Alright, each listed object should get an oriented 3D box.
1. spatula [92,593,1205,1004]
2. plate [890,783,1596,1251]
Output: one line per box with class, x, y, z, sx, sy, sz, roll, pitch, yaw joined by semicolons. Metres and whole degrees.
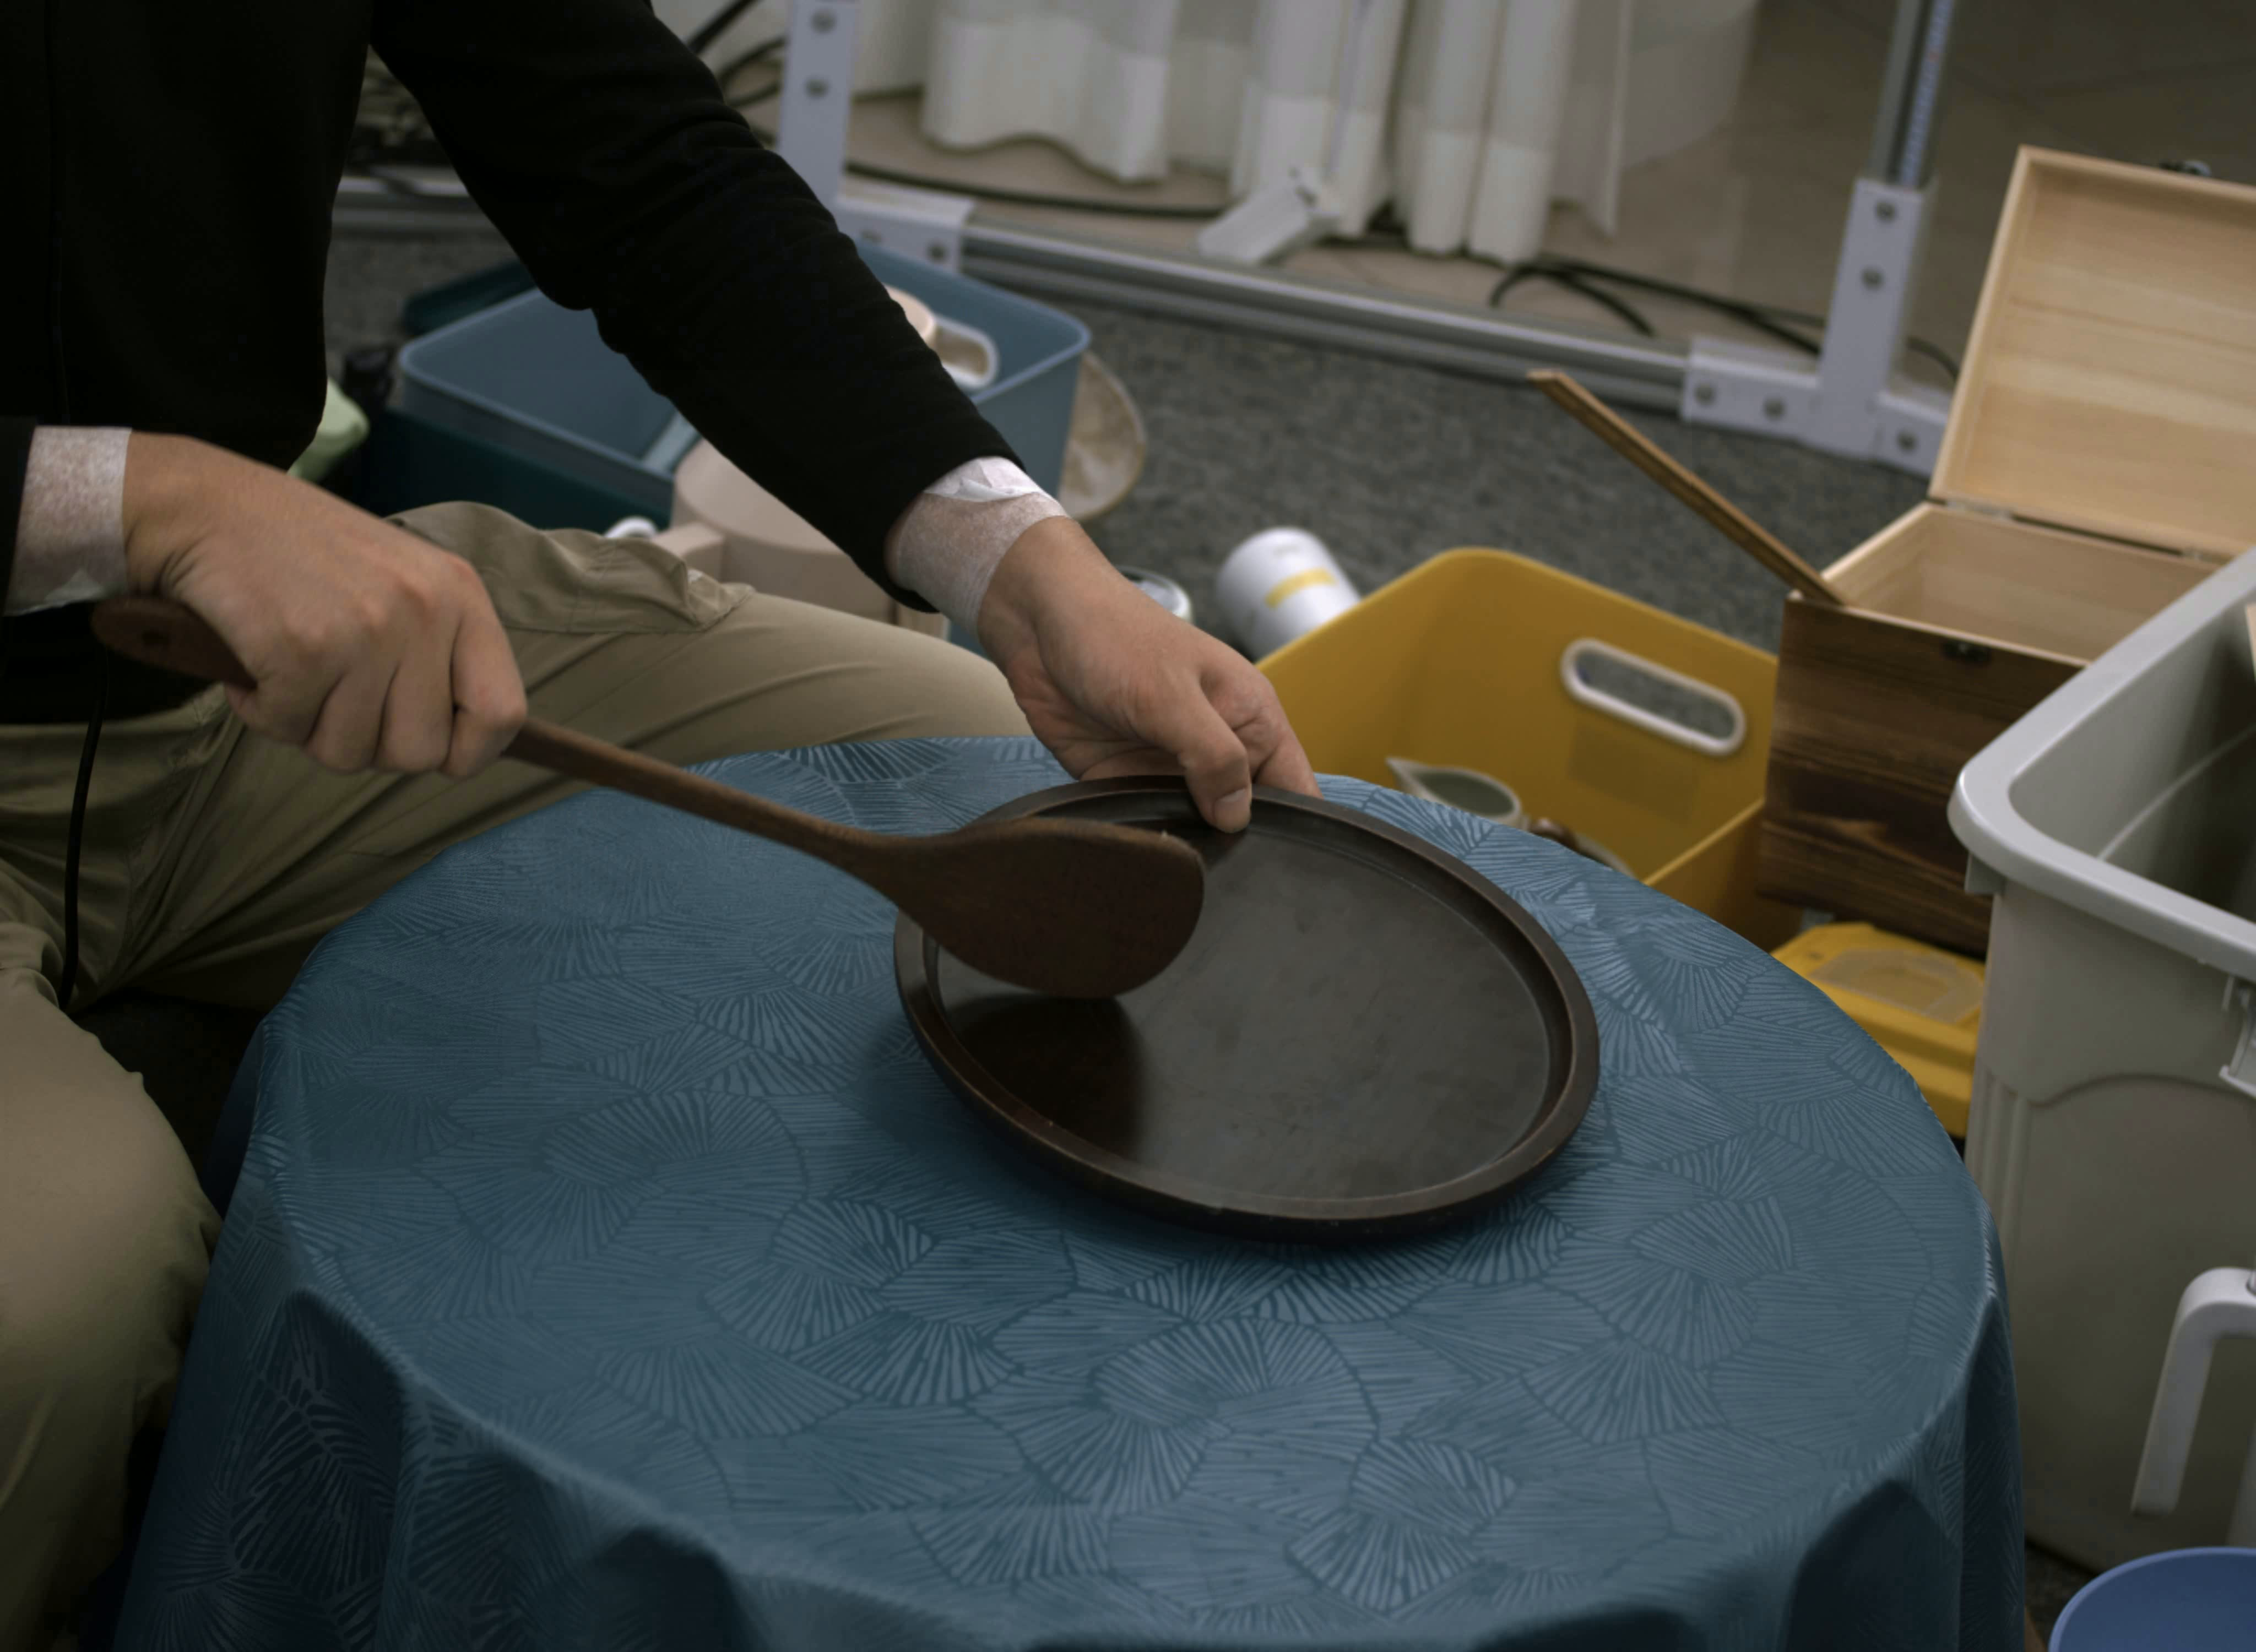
spatula;-0.161;-0.015;1.792;0.384;0.096;0.016;18;49;-8
plate;0.040;0.065;1.866;0.254;0.029;0.256;9;35;-7
